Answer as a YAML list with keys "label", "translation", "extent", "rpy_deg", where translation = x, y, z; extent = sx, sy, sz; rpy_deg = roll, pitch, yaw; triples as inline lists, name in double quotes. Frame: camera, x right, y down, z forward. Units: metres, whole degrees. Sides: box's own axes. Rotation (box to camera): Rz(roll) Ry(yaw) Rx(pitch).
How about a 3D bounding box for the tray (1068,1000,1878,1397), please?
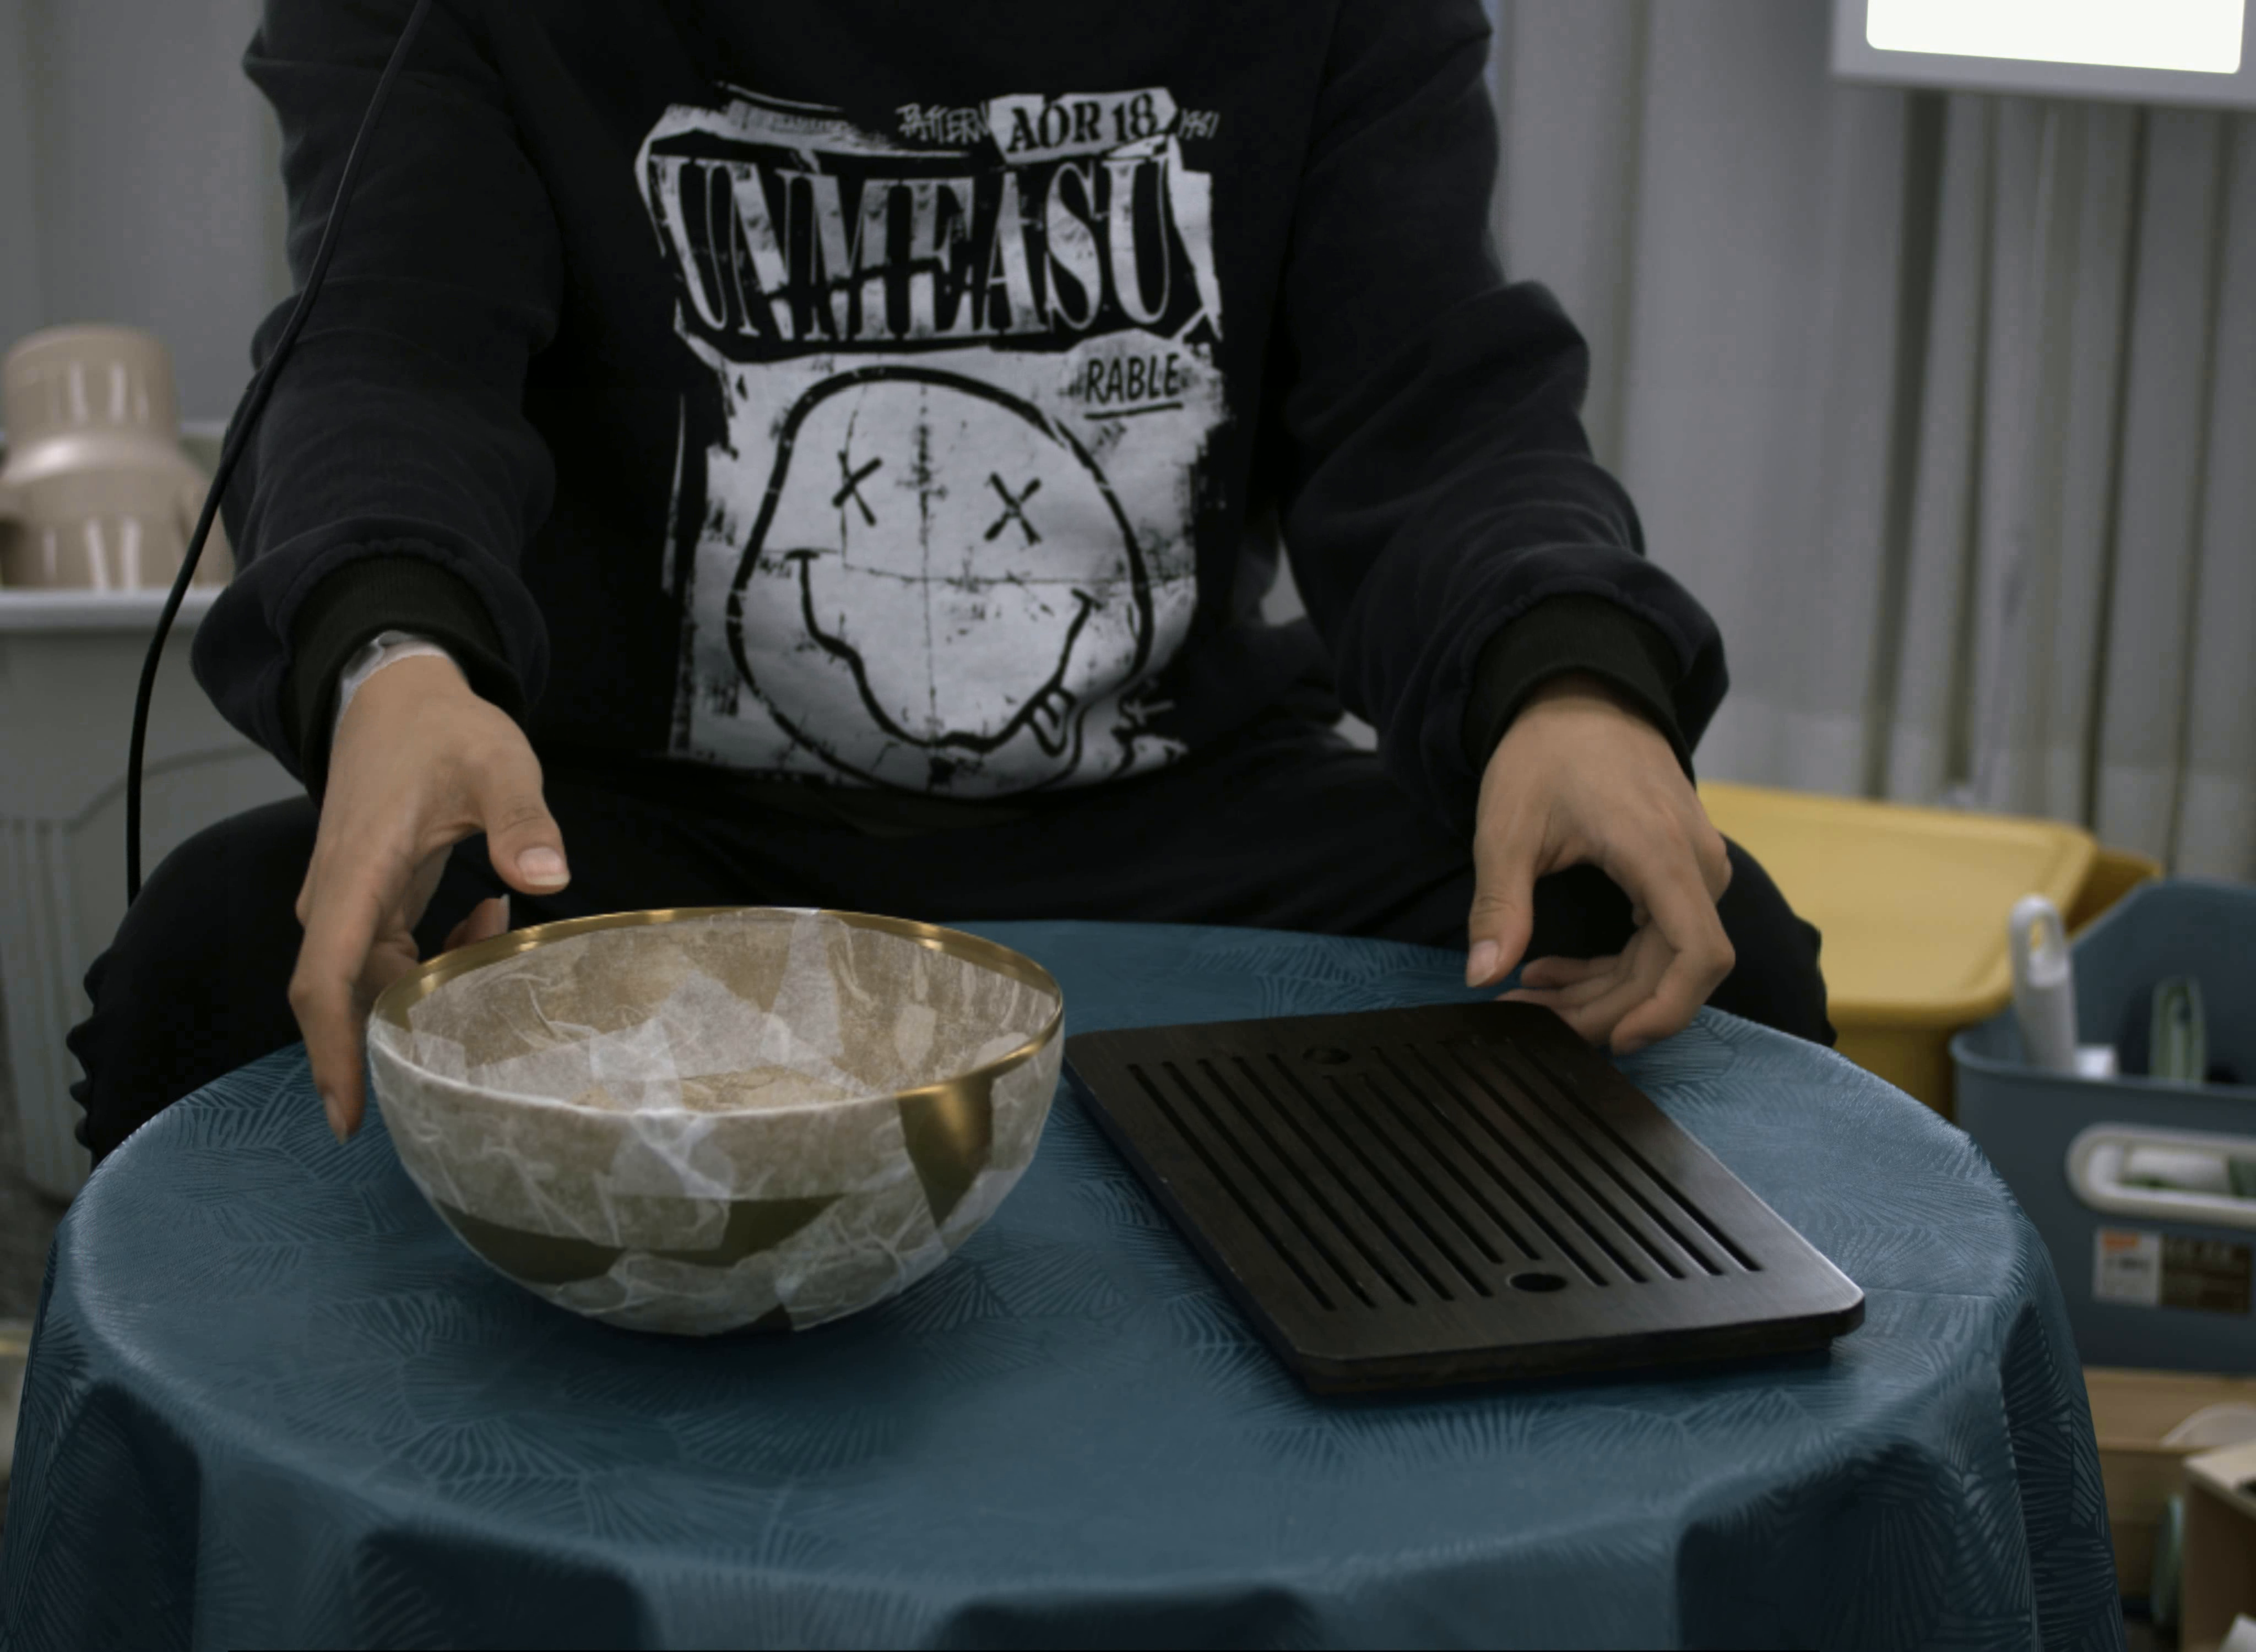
- label: "tray"
  translation: [0.097, 0.110, 1.608]
  extent: [0.170, 0.019, 0.303]
  rpy_deg: [-3, 16, -14]

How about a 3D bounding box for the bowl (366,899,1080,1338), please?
- label: "bowl"
  translation: [-0.114, 0.092, 1.523]
  extent: [0.214, 0.095, 0.213]
  rpy_deg: [0, 16, 1]
